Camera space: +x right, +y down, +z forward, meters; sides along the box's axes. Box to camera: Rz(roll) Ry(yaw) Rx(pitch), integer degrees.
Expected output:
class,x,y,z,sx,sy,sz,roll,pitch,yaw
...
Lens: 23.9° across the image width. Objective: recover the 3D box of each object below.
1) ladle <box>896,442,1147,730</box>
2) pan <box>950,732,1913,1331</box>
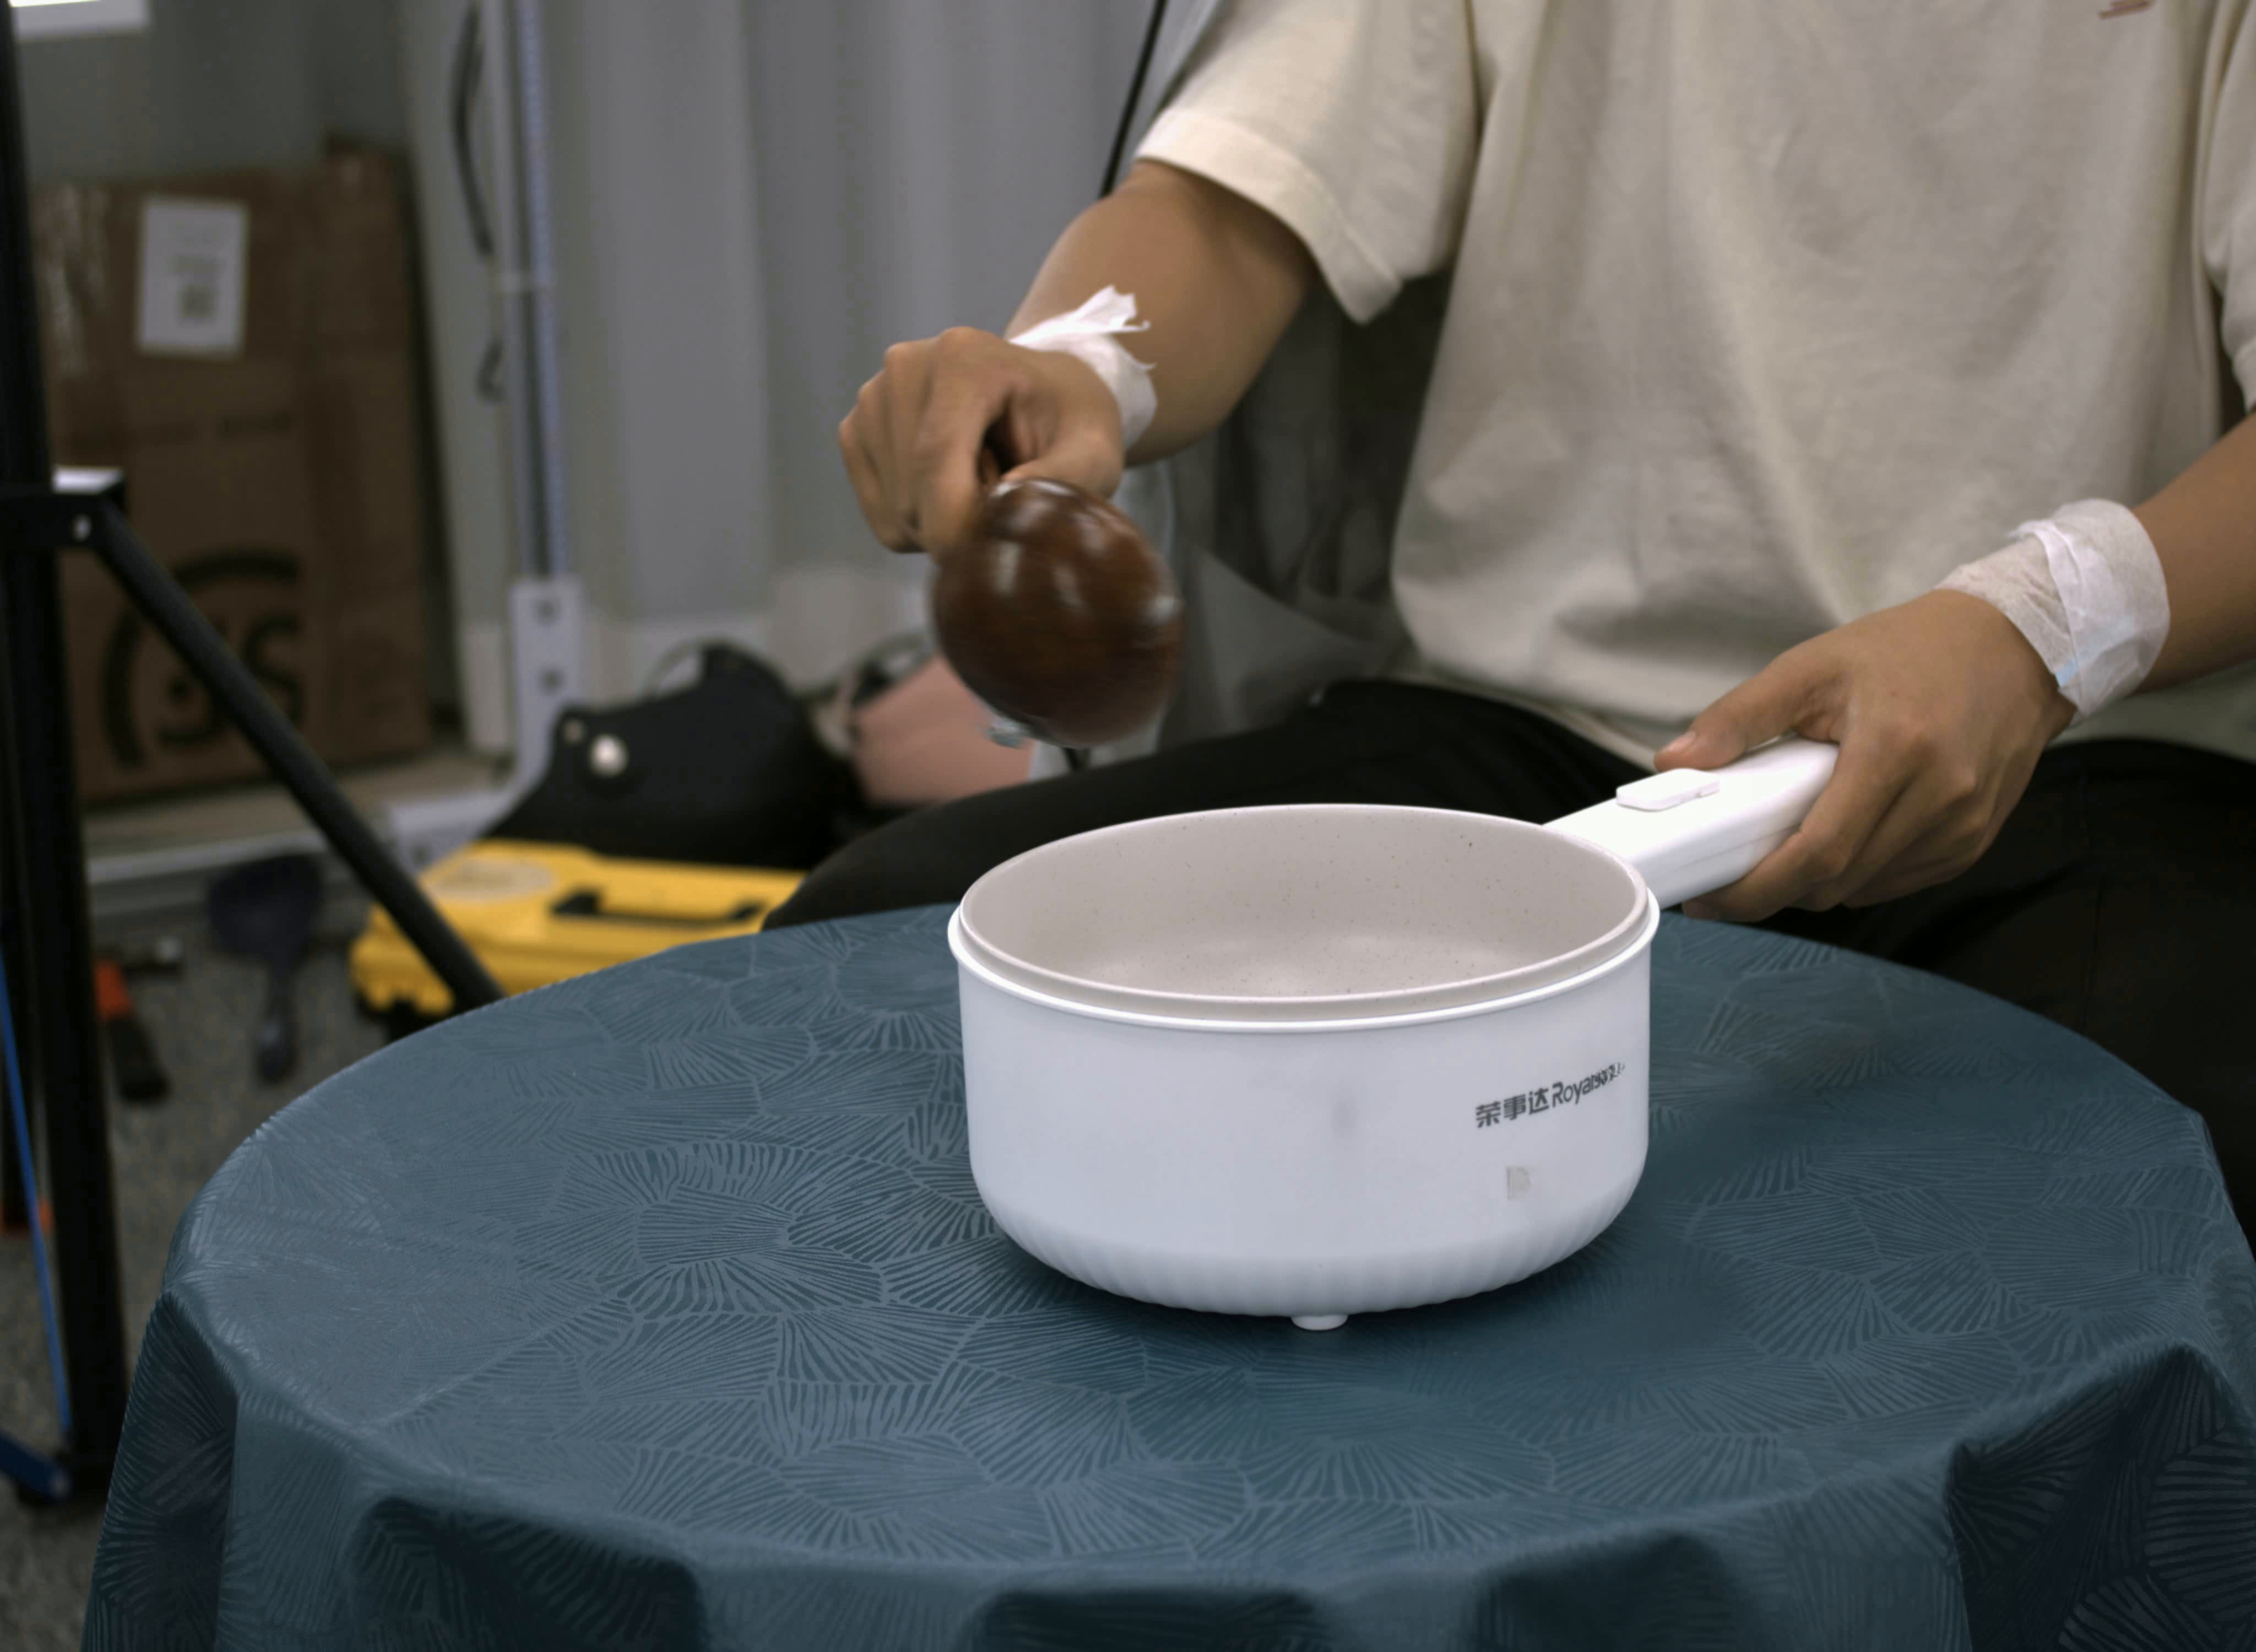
class,x,y,z,sx,sy,sz,roll,pitch,yaw
ladle,-0.027,-0.088,1.610,0.076,0.082,0.274,-6,11,4
pan,0.106,0.054,1.554,0.346,0.102,0.206,-16,19,-41
